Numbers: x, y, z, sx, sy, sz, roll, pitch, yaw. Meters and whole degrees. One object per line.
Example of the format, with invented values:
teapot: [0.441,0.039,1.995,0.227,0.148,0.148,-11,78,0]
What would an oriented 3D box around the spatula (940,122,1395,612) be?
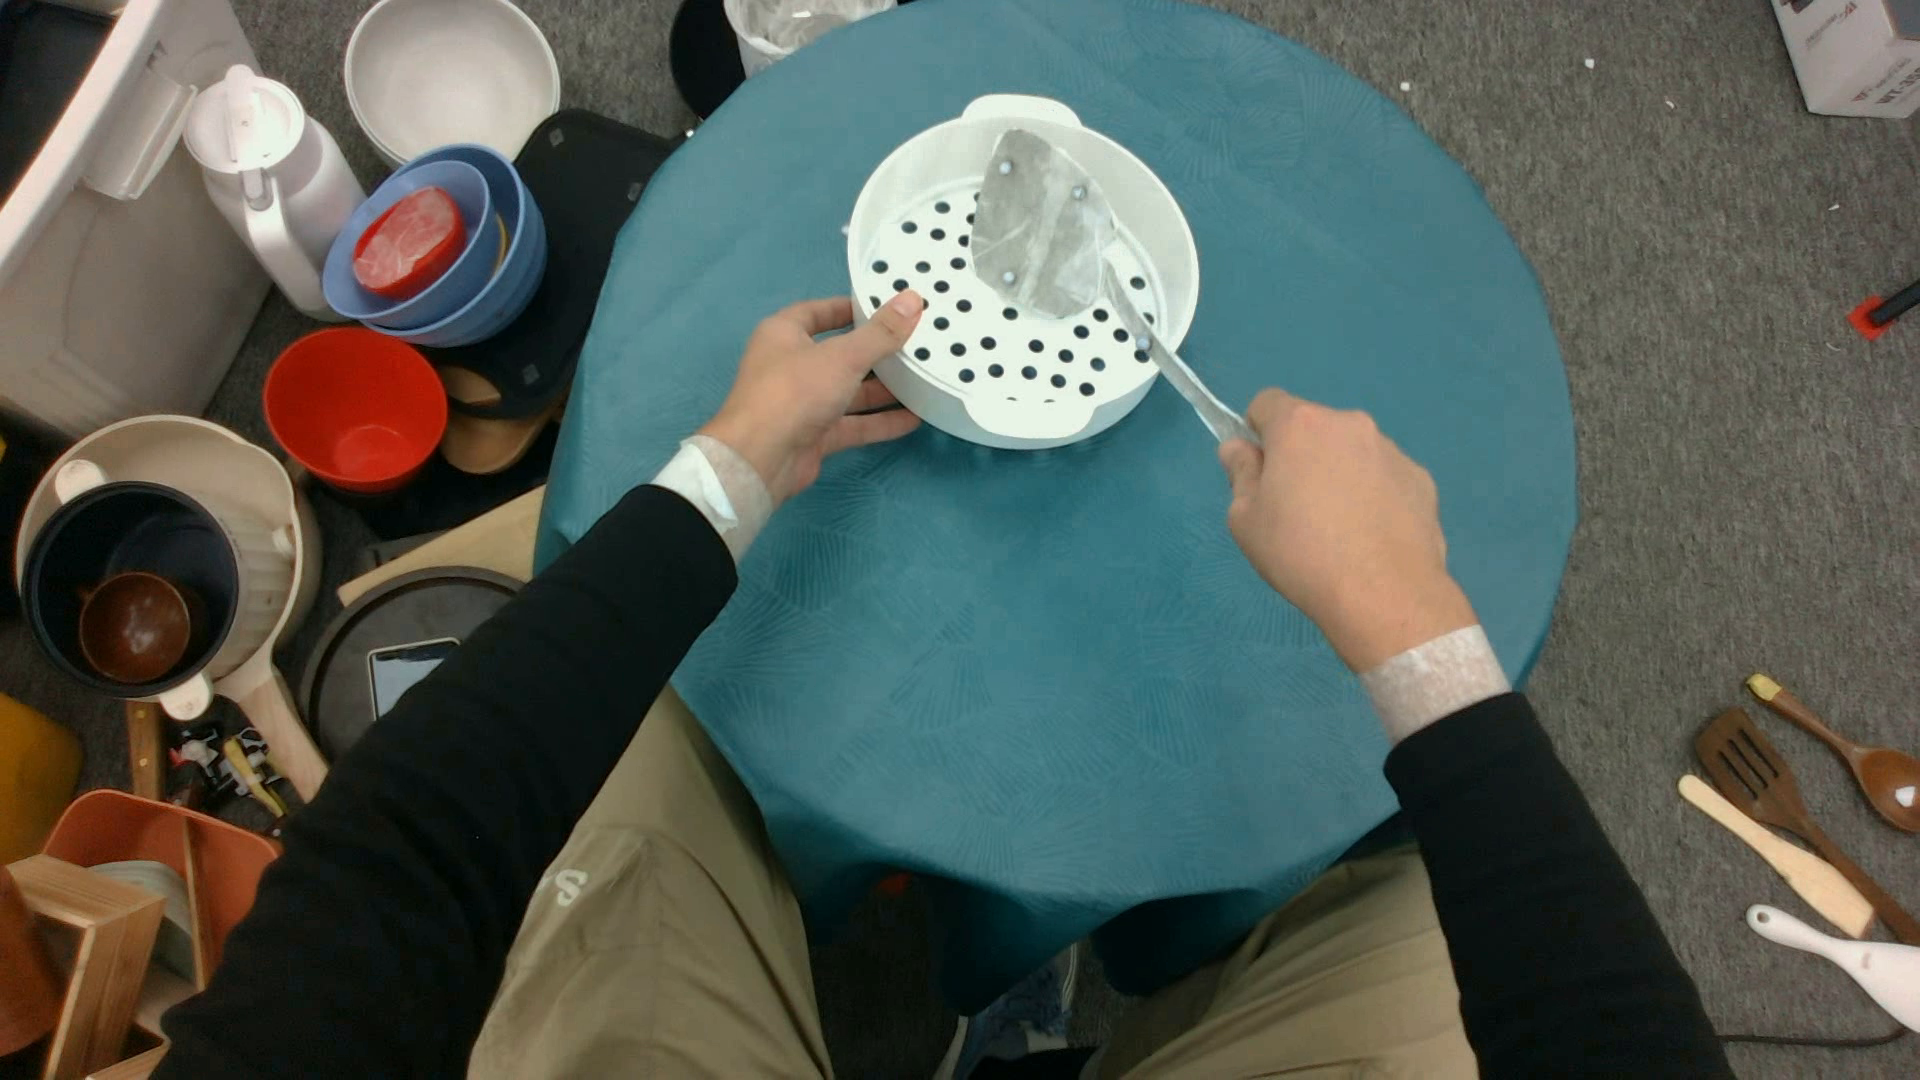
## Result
spatula: [0.097,-0.093,0.712,0.045,0.098,0.365,-7,45,-32]

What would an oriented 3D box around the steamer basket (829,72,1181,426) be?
steamer basket: [0.024,-0.163,0.805,0.202,0.069,0.231,3,67,-6]
